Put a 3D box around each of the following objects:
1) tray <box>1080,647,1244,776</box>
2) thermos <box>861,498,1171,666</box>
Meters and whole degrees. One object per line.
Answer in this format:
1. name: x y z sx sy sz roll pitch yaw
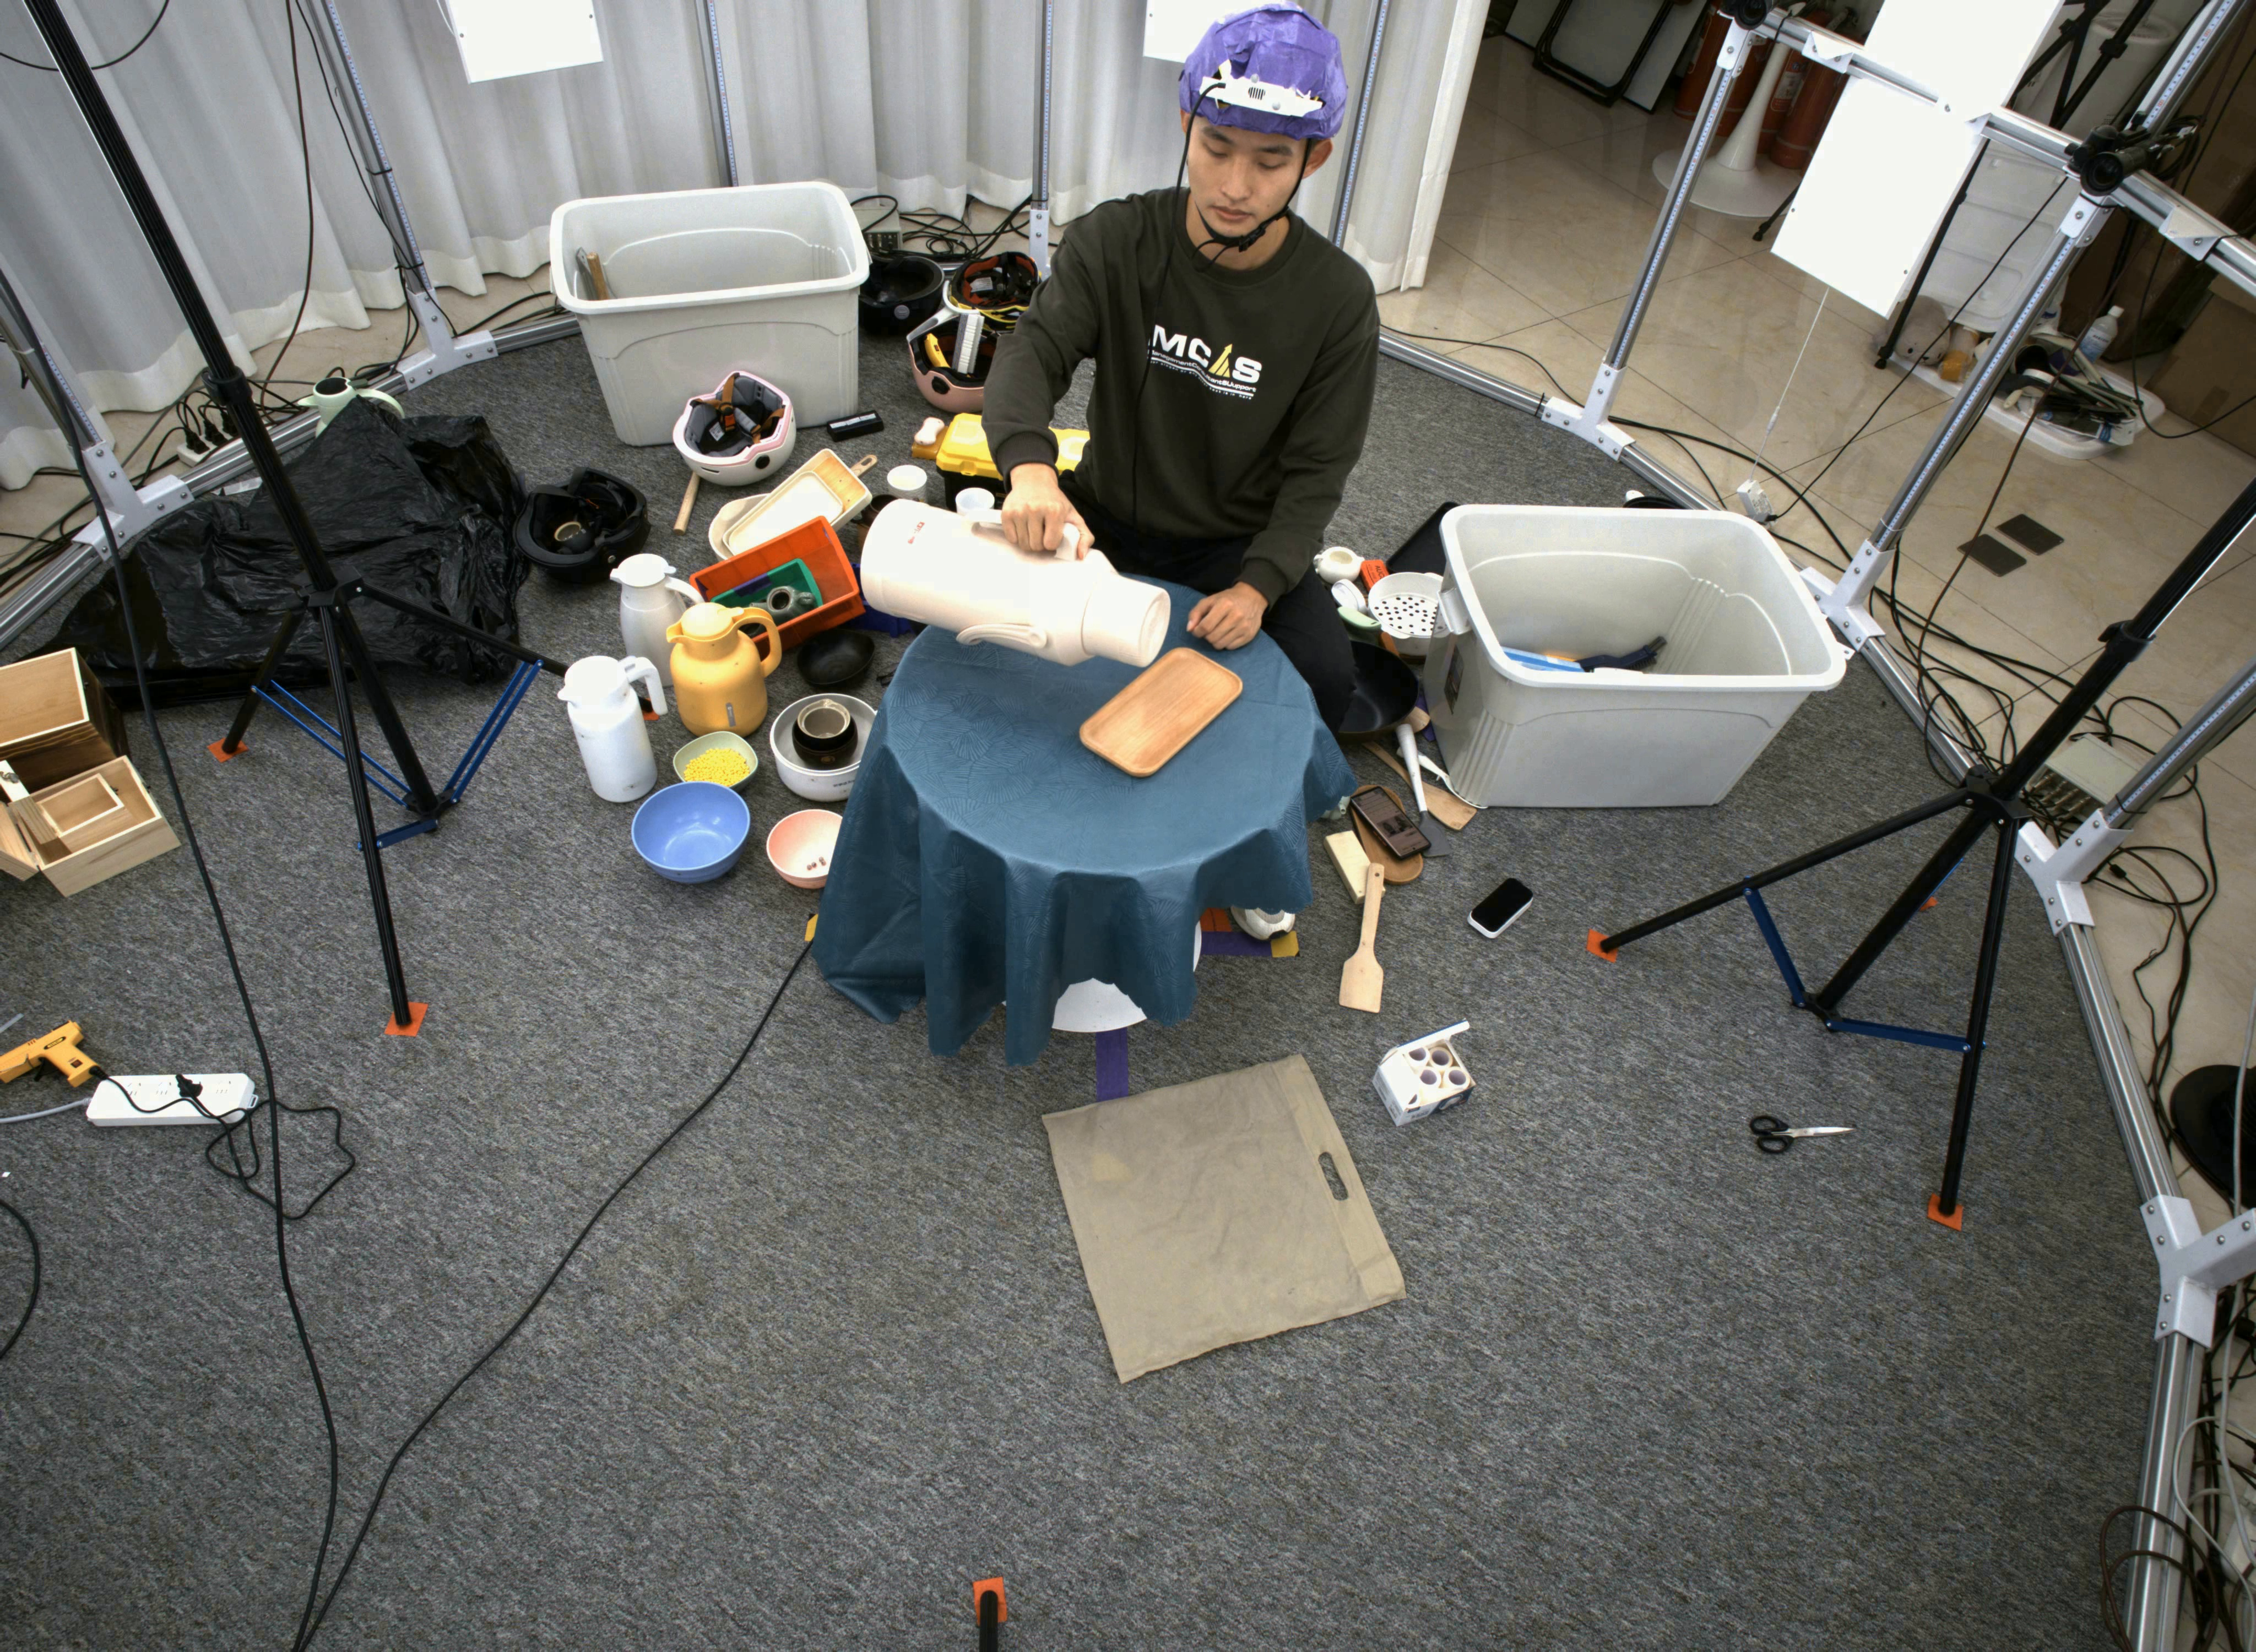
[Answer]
1. tray: 0.049 -0.163 1.799 0.132 0.022 0.253 35 54 21
2. thermos: -0.145 -0.327 1.711 0.409 0.202 0.178 19 47 21
